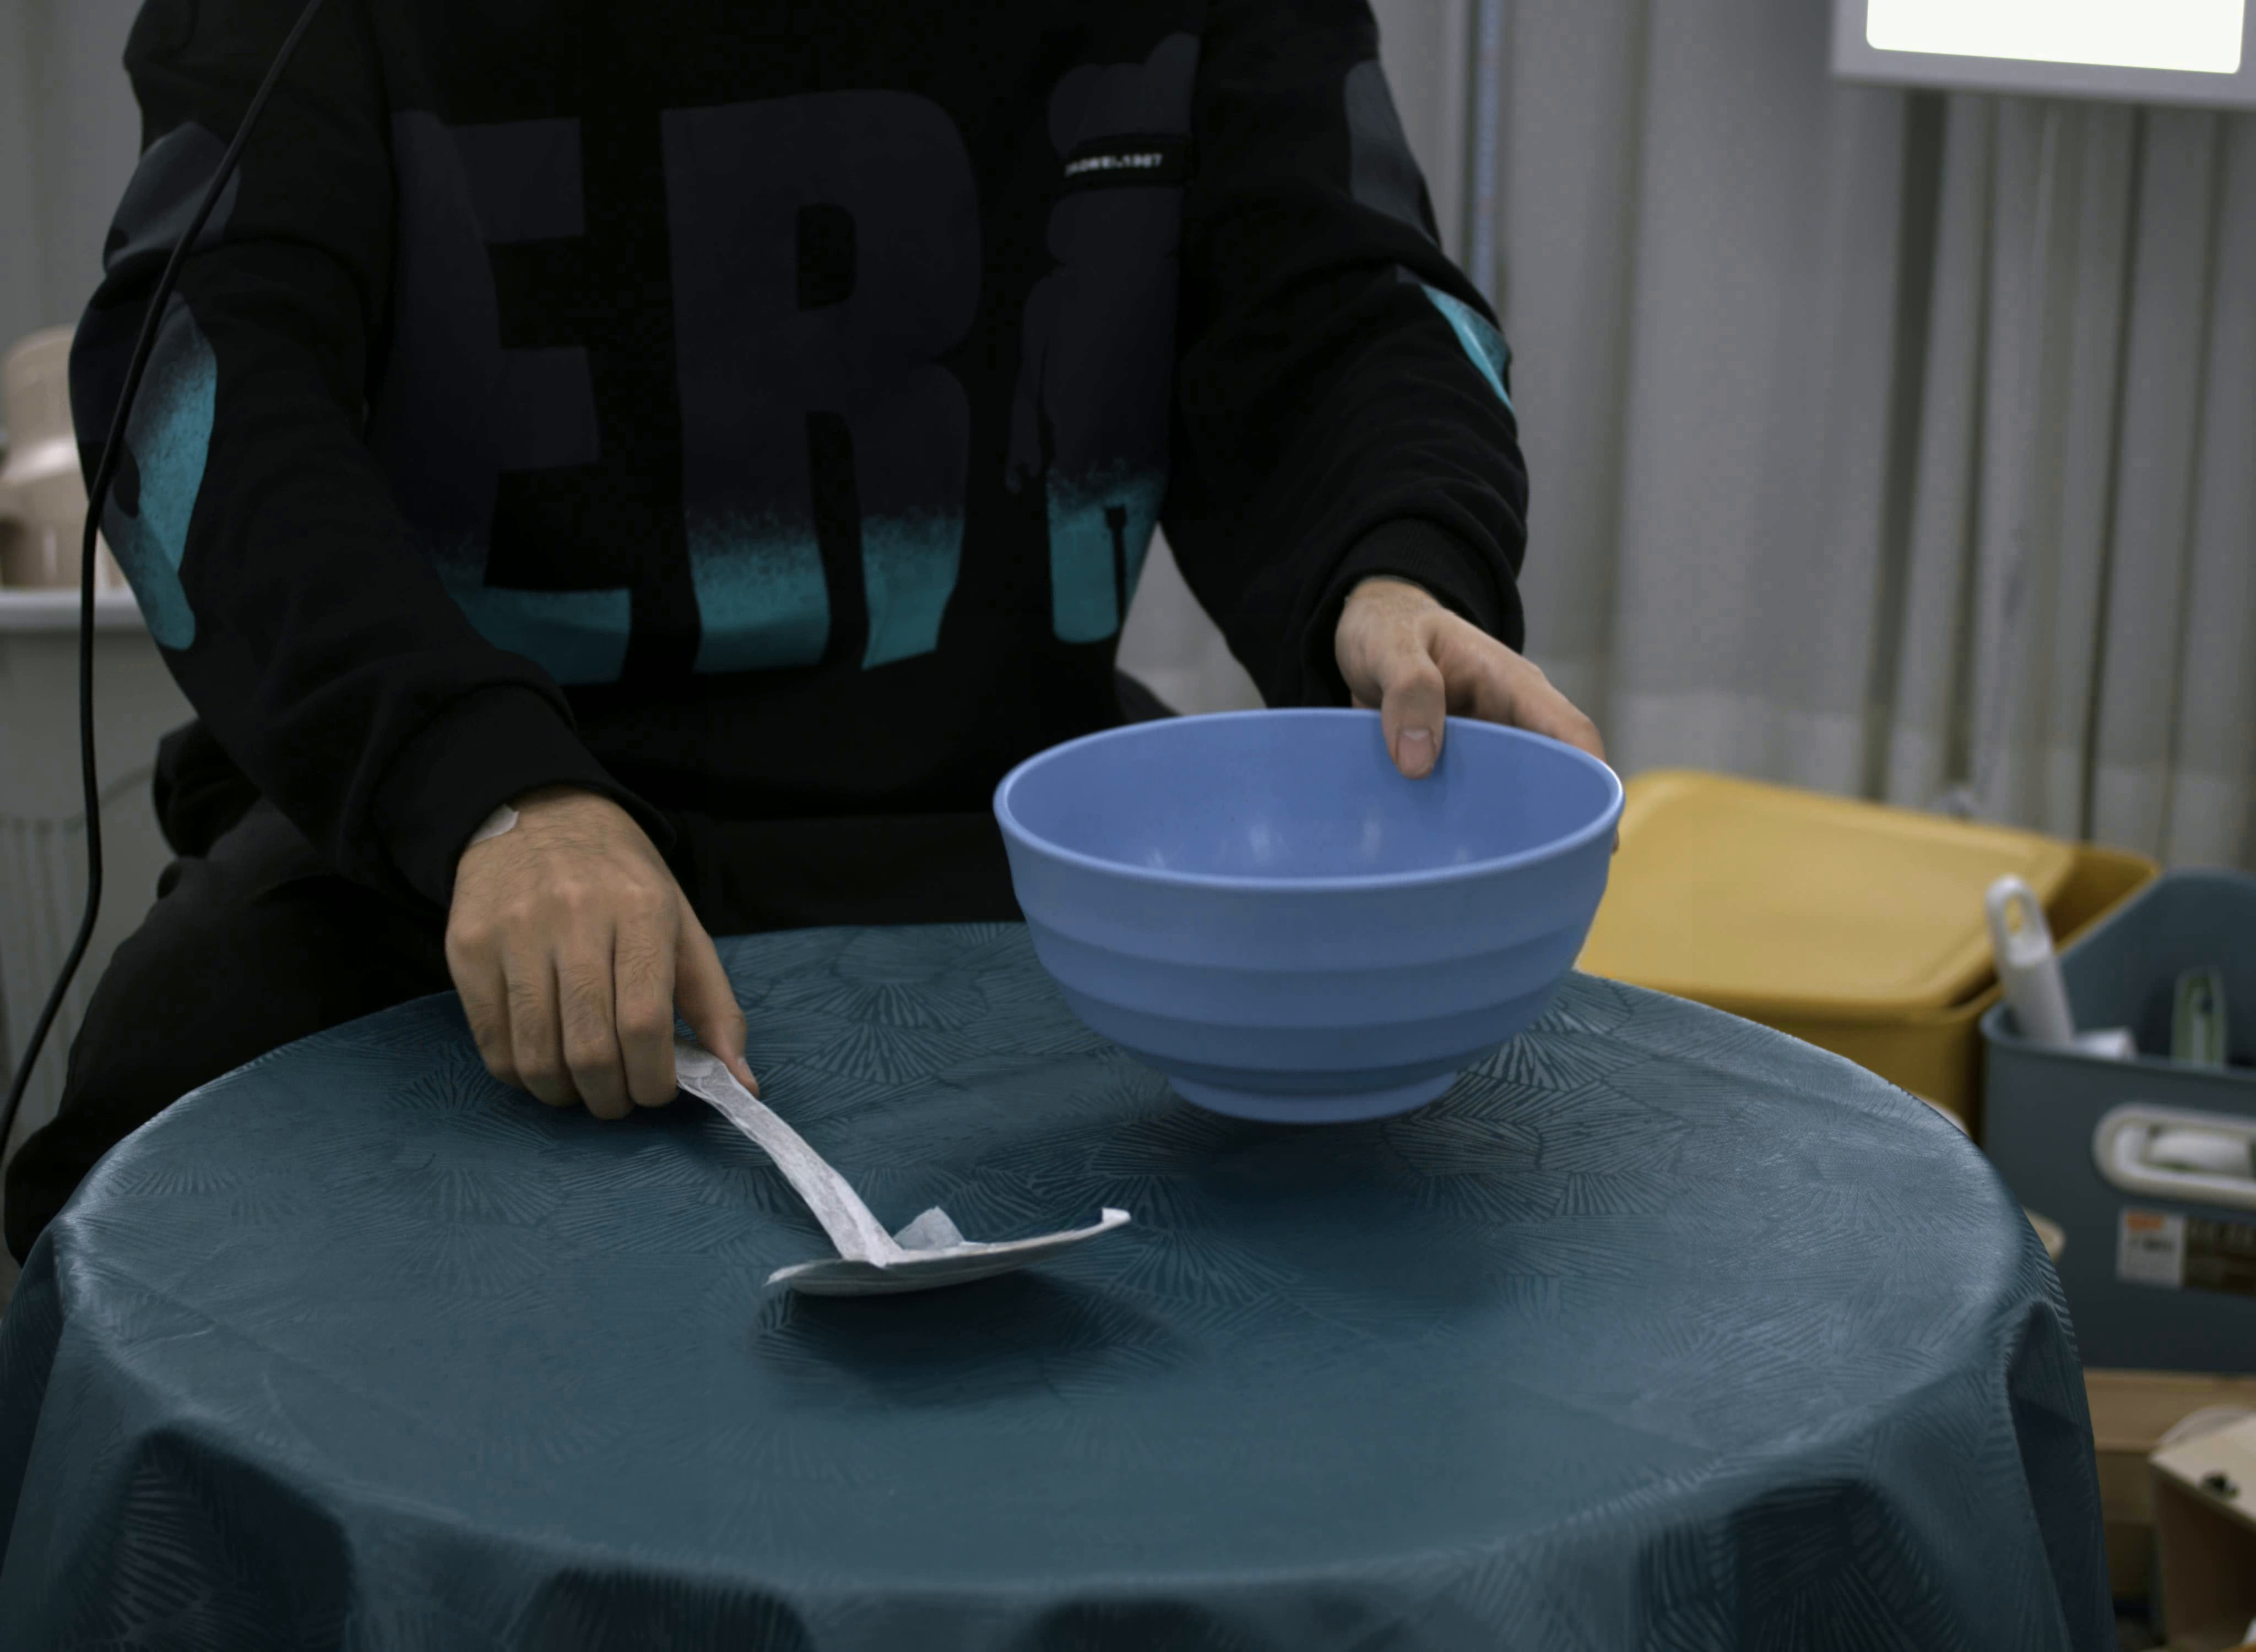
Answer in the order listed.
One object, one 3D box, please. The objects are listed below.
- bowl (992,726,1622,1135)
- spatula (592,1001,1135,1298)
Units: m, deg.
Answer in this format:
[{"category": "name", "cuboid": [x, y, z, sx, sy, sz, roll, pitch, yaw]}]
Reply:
[{"category": "bowl", "cuboid": [0.058, 0.038, 1.648, 0.196, 0.096, 0.195, -3, 15, 1]}, {"category": "spatula", "cuboid": [-0.107, 0.090, 1.629, 0.099, 0.045, 0.360, -9, 18, -23]}]
